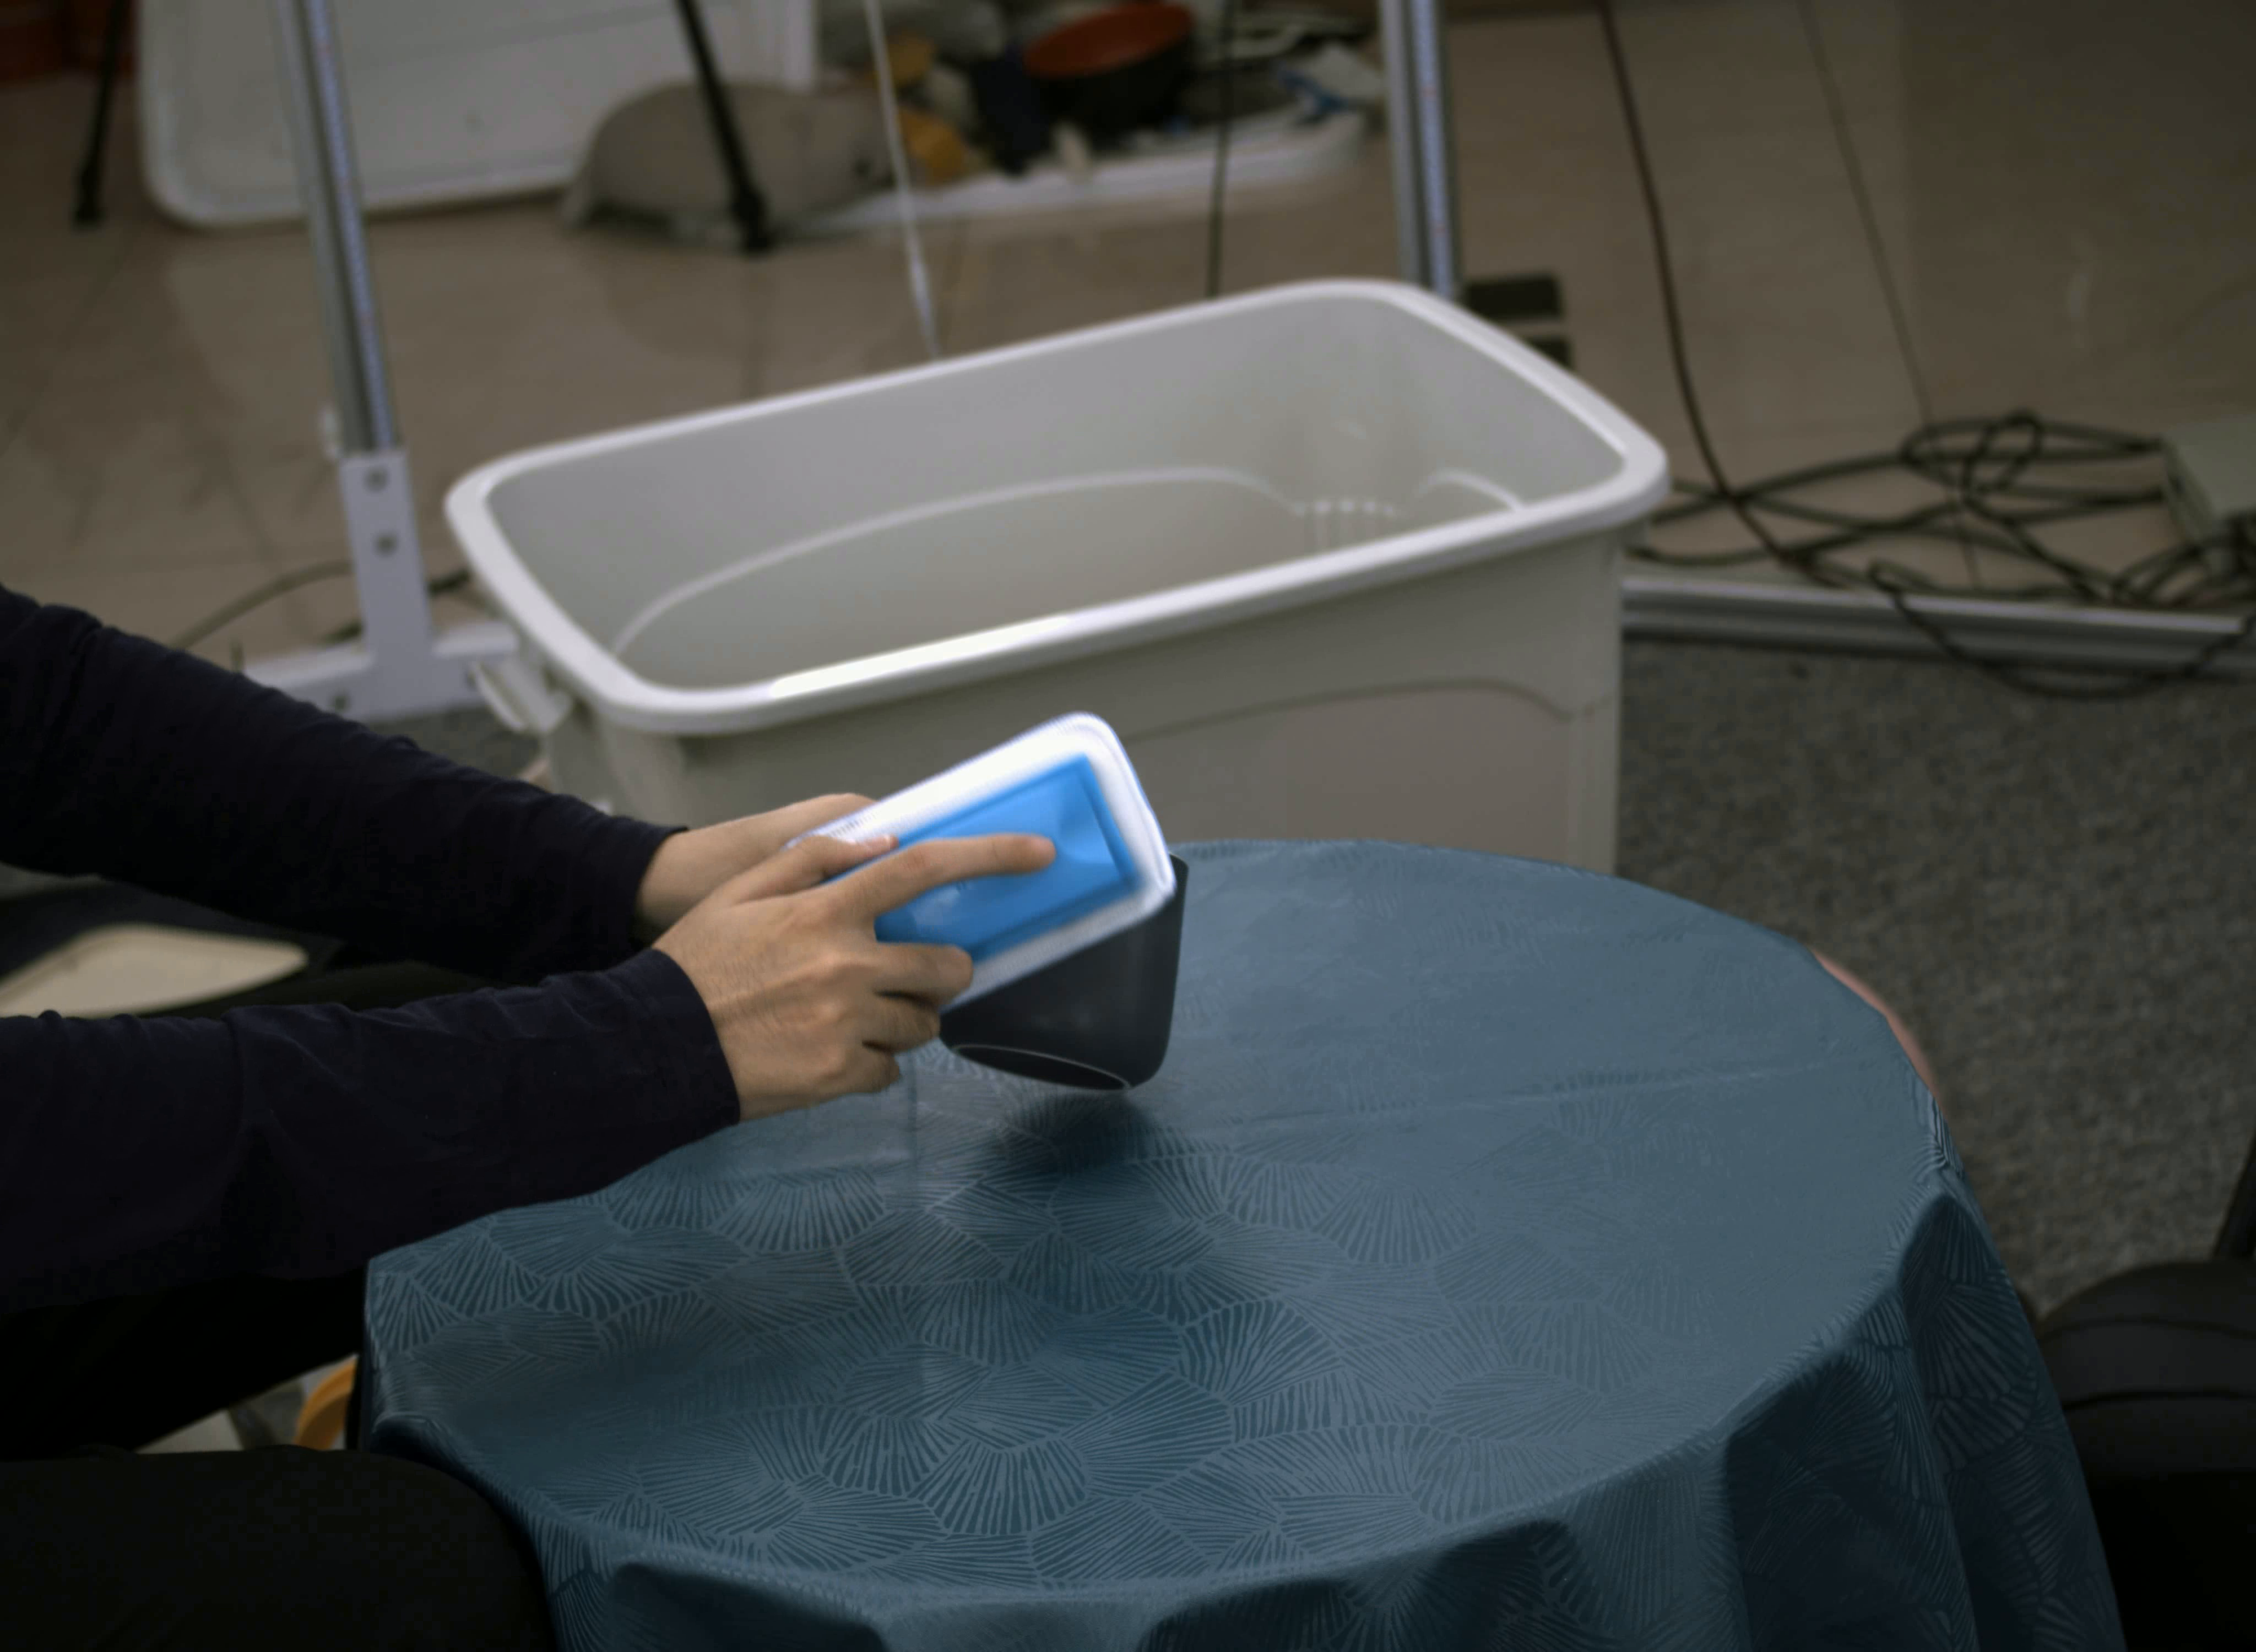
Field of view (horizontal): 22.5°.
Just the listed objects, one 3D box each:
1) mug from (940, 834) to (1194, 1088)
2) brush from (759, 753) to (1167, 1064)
[{"bbox_3d":[-0.038,0.046,2.199,0.123,0.089,0.094,13,-10,5],"label":"mug"},{"bbox_3d":[-0.062,0.027,2.072,0.144,0.083,0.056,-21,-6,0],"label":"brush"}]
